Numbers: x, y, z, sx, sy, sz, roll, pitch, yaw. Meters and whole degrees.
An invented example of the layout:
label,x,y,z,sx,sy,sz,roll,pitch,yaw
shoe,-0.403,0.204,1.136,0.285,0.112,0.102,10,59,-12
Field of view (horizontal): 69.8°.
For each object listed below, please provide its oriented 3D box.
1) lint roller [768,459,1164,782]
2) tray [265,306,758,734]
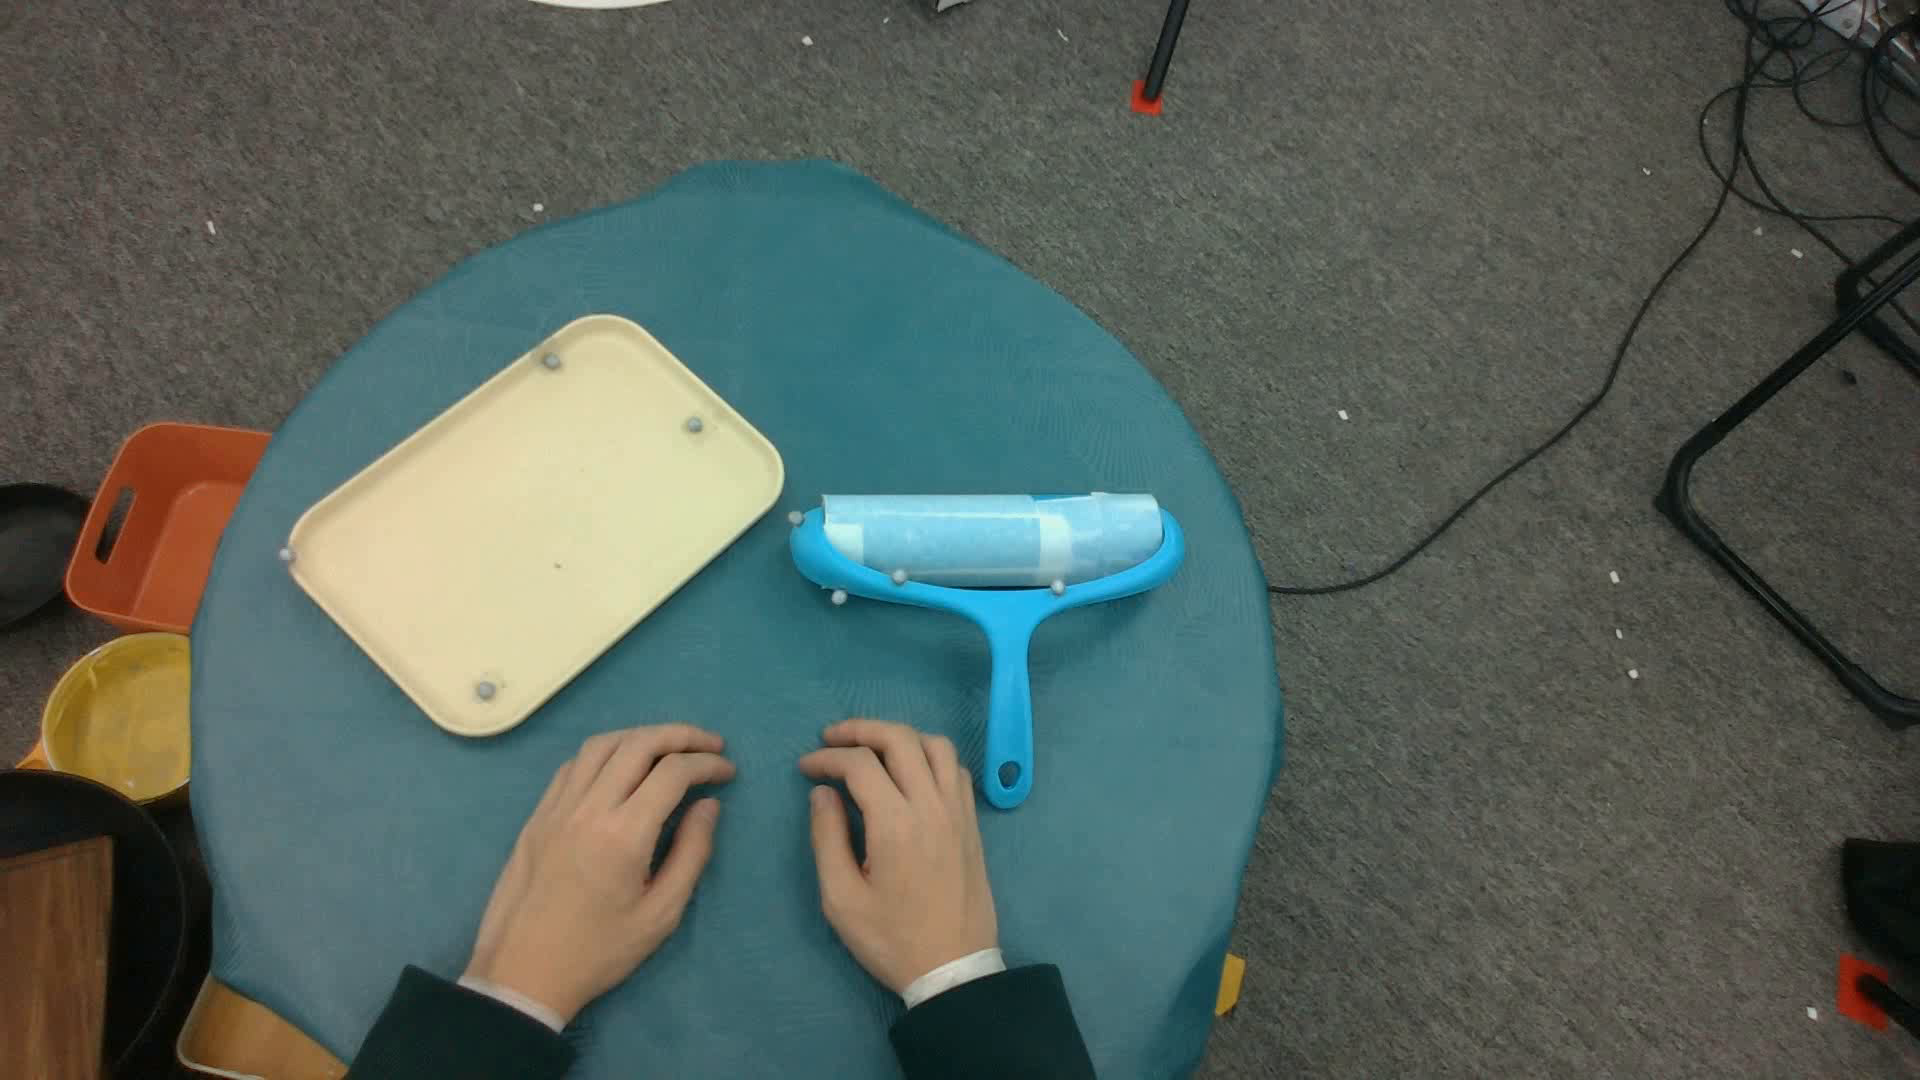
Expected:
label,x,y,z,sx,sy,sz,roll,pitch,yaw
lint roller,0.015,0.038,0.766,0.229,0.067,0.181,-5,65,-13
tray,-0.244,-0.018,0.772,0.171,0.017,0.240,40,65,9
